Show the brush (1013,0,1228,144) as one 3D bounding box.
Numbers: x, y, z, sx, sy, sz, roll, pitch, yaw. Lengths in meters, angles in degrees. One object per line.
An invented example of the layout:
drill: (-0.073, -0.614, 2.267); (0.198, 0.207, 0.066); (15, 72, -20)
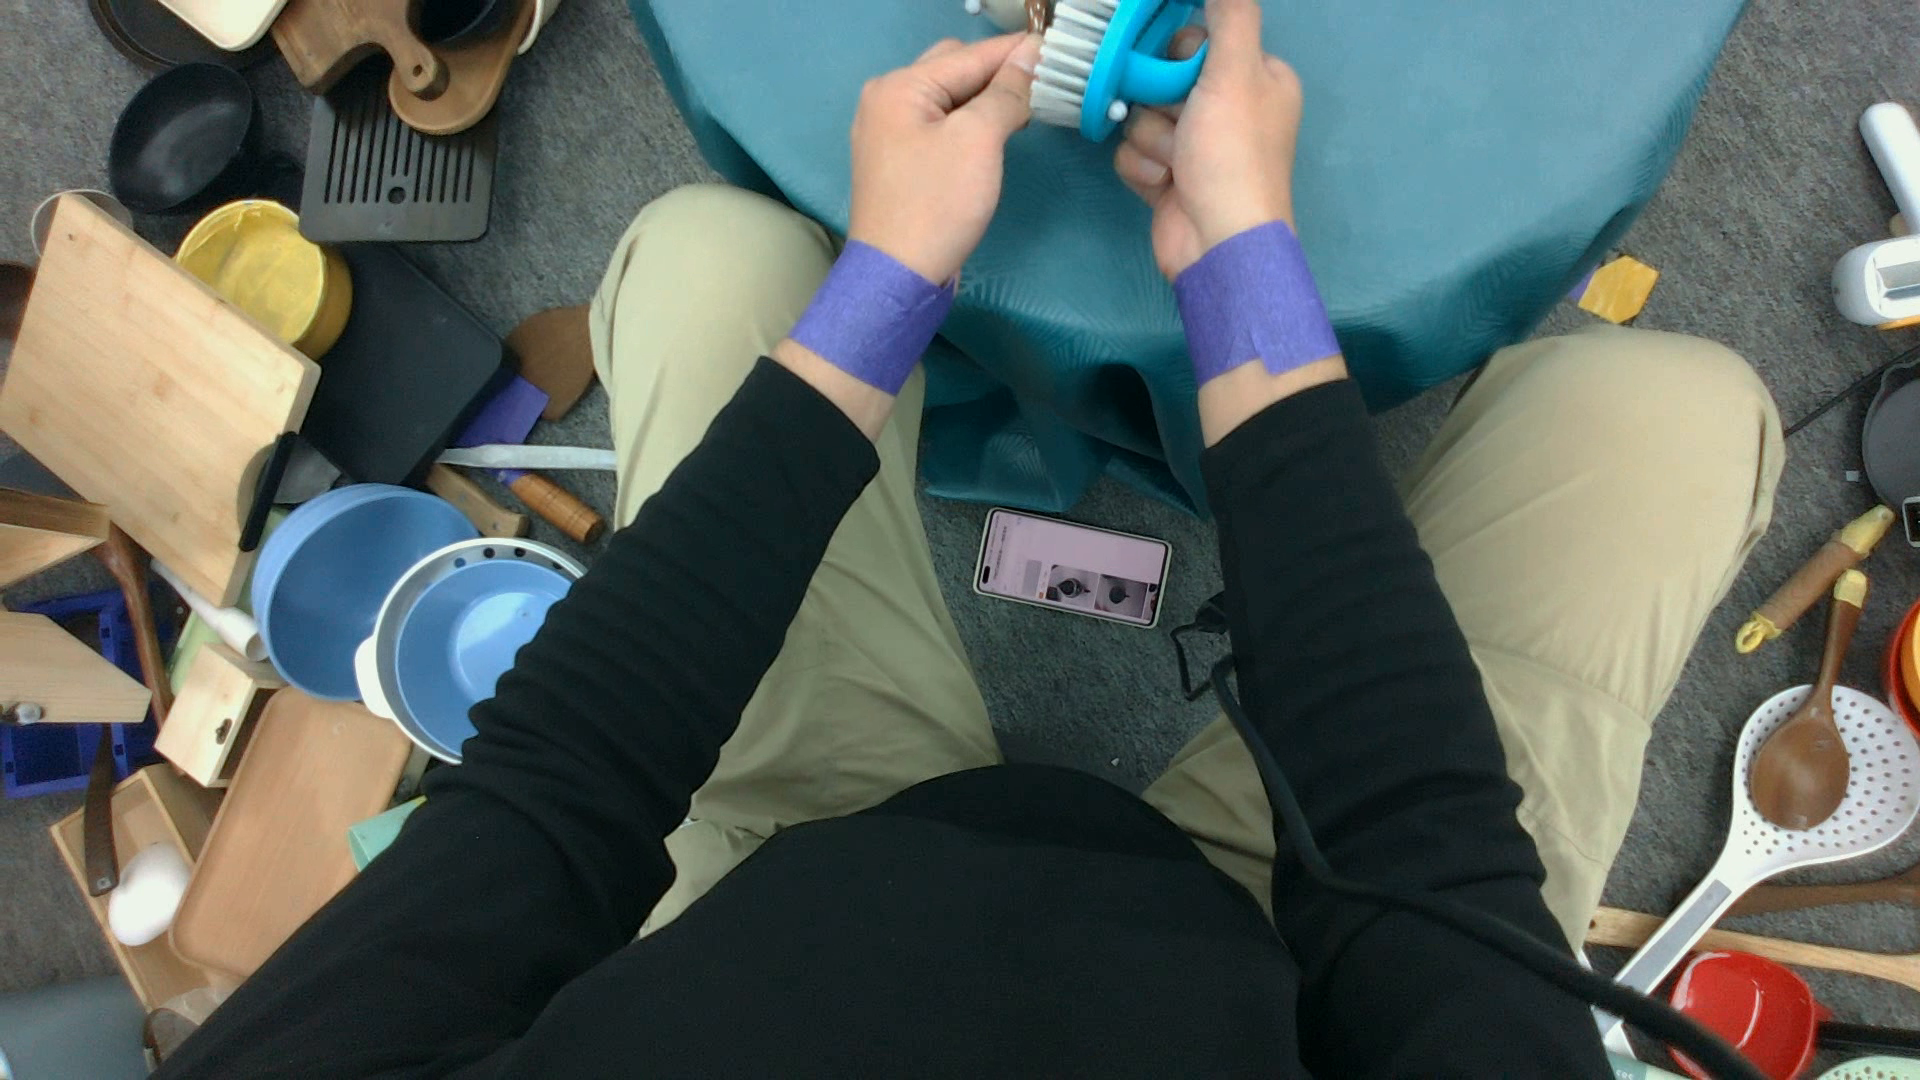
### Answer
brush: (0.080, -0.229, 0.616); (0.064, 0.084, 0.142); (28, 53, 6)

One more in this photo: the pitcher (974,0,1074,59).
pitcher: (0.029, -0.276, 0.643); (0.076, 0.088, 0.119); (2, 84, 10)
